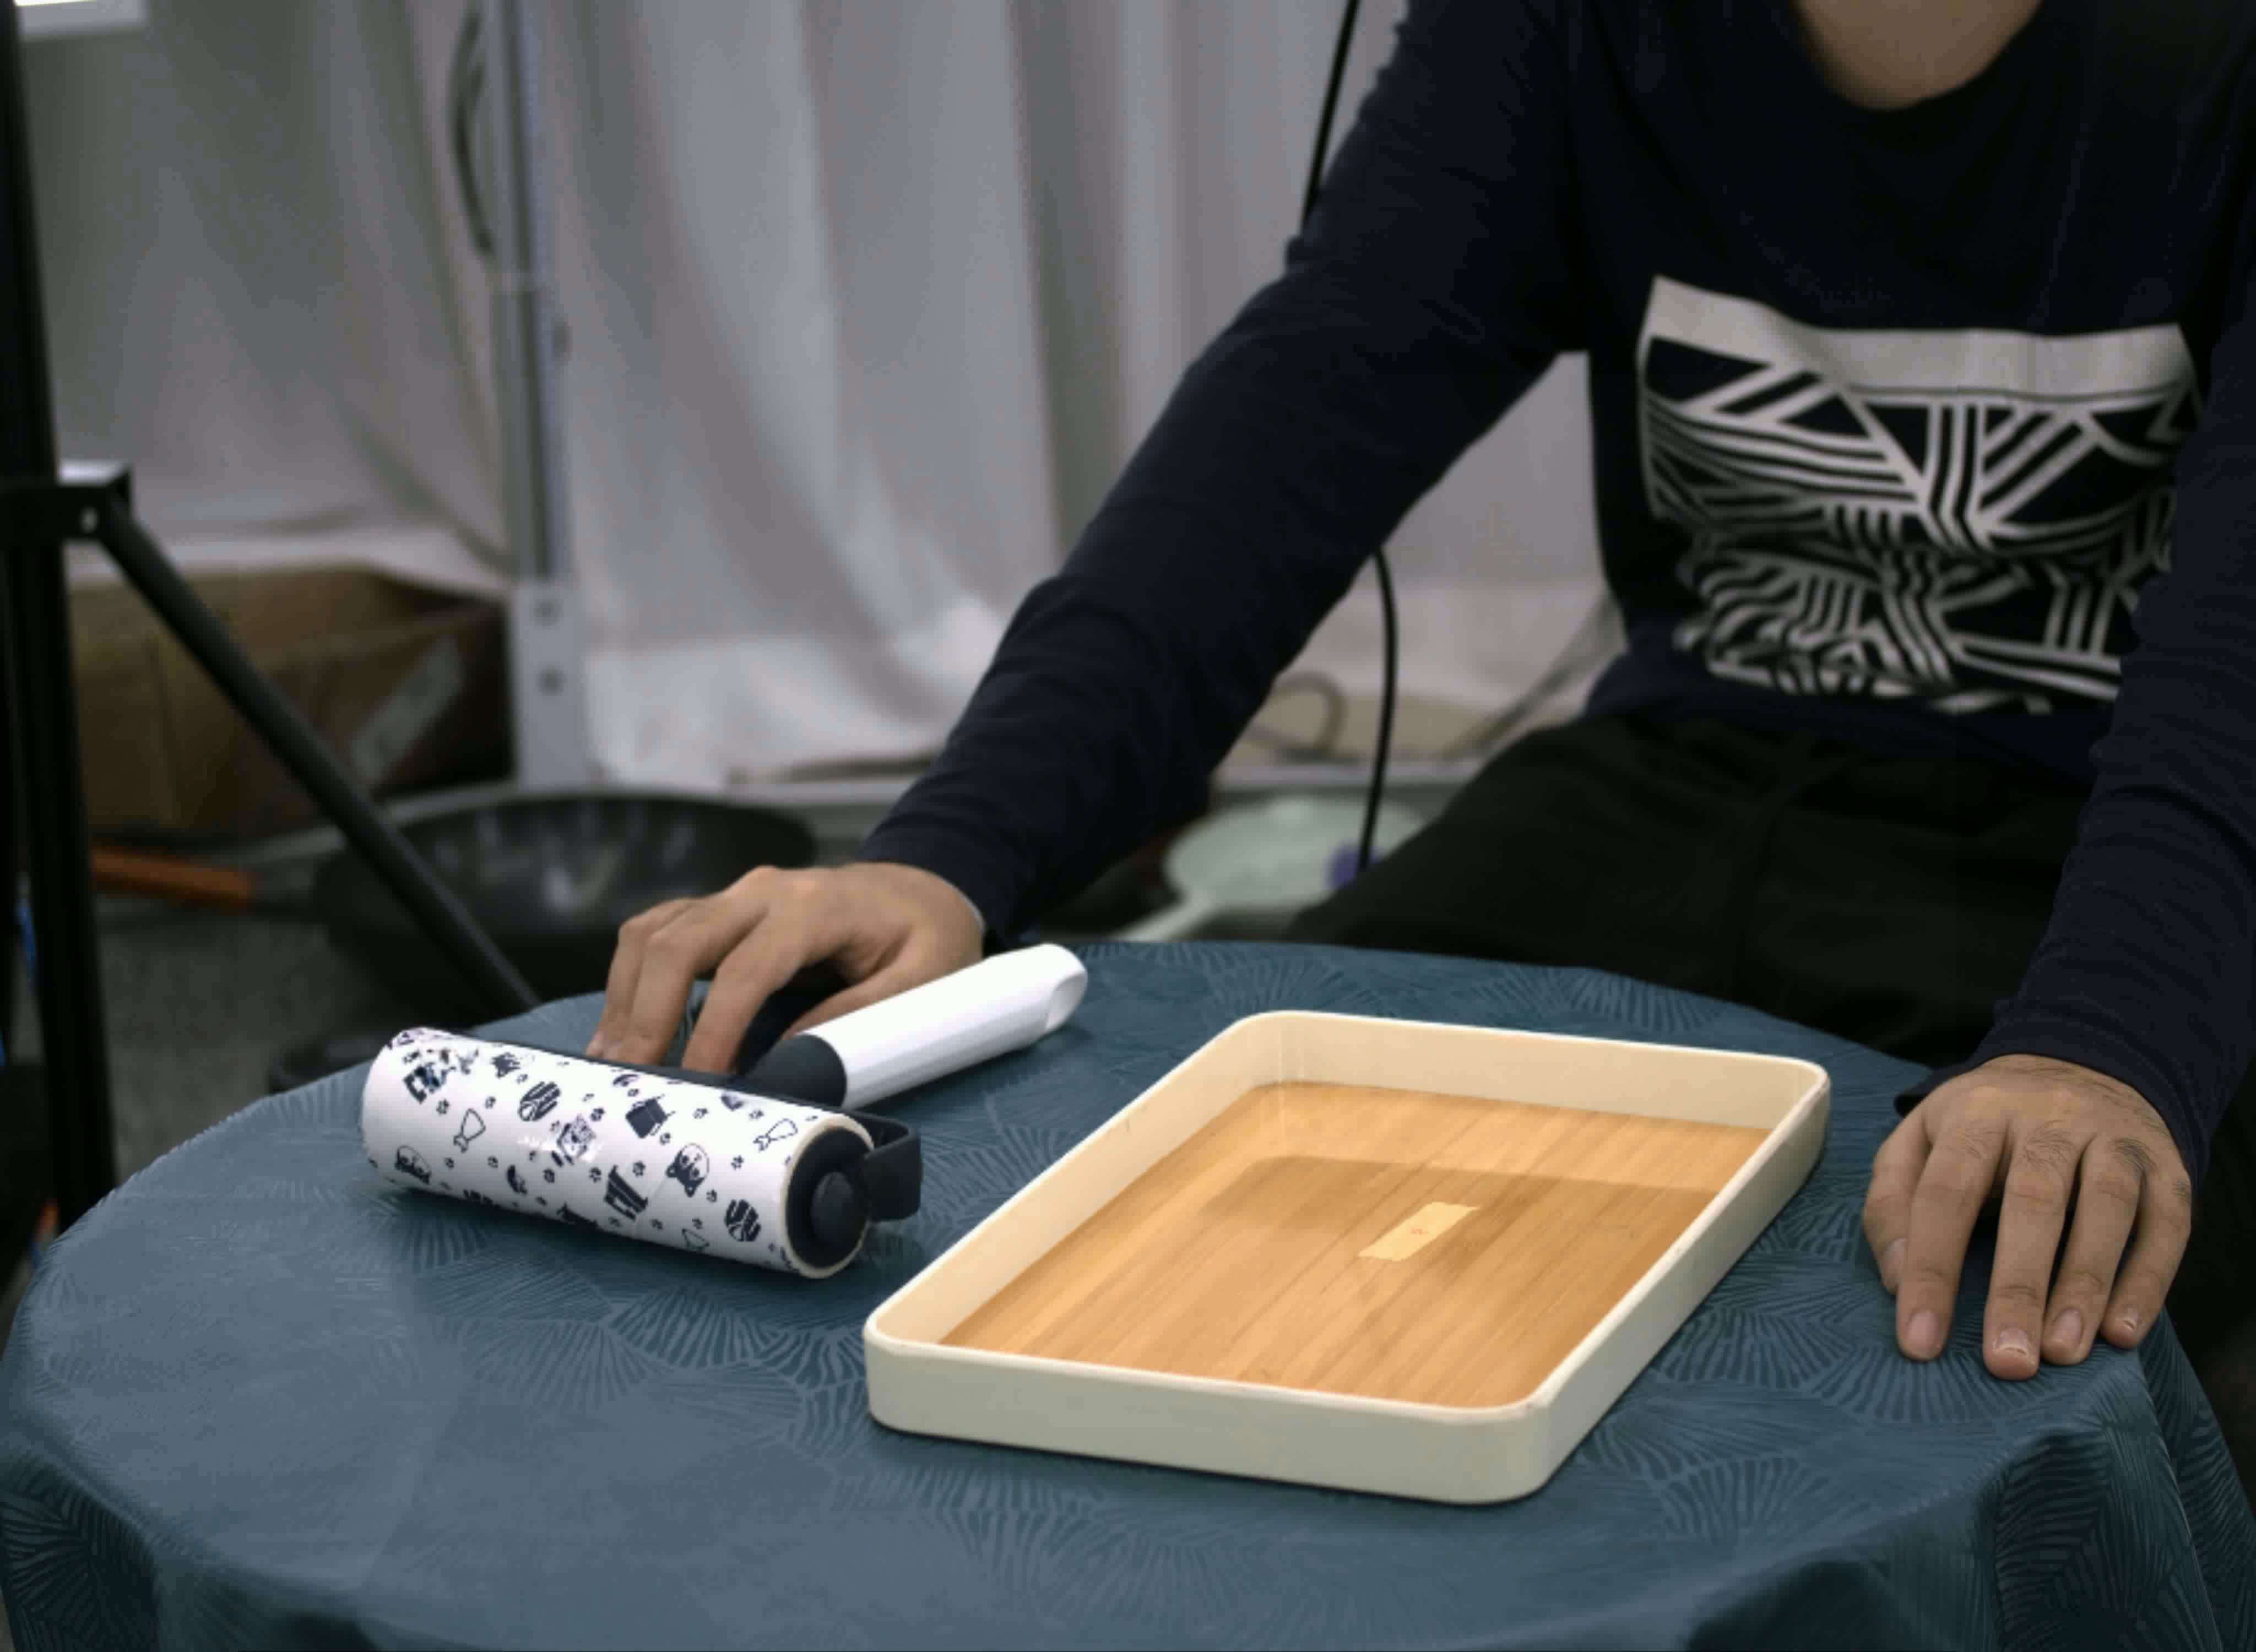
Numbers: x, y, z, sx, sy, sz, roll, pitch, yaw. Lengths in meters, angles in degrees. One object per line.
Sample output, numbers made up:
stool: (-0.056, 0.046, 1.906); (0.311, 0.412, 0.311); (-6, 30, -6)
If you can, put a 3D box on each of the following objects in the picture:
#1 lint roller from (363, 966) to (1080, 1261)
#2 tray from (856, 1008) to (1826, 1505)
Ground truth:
lint roller: (-0.092, 0.072, 1.627); (0.180, 0.050, 0.242); (8, 16, 34)
tray: (0.068, 0.114, 1.480); (0.194, 0.027, 0.296); (4, 17, 24)
